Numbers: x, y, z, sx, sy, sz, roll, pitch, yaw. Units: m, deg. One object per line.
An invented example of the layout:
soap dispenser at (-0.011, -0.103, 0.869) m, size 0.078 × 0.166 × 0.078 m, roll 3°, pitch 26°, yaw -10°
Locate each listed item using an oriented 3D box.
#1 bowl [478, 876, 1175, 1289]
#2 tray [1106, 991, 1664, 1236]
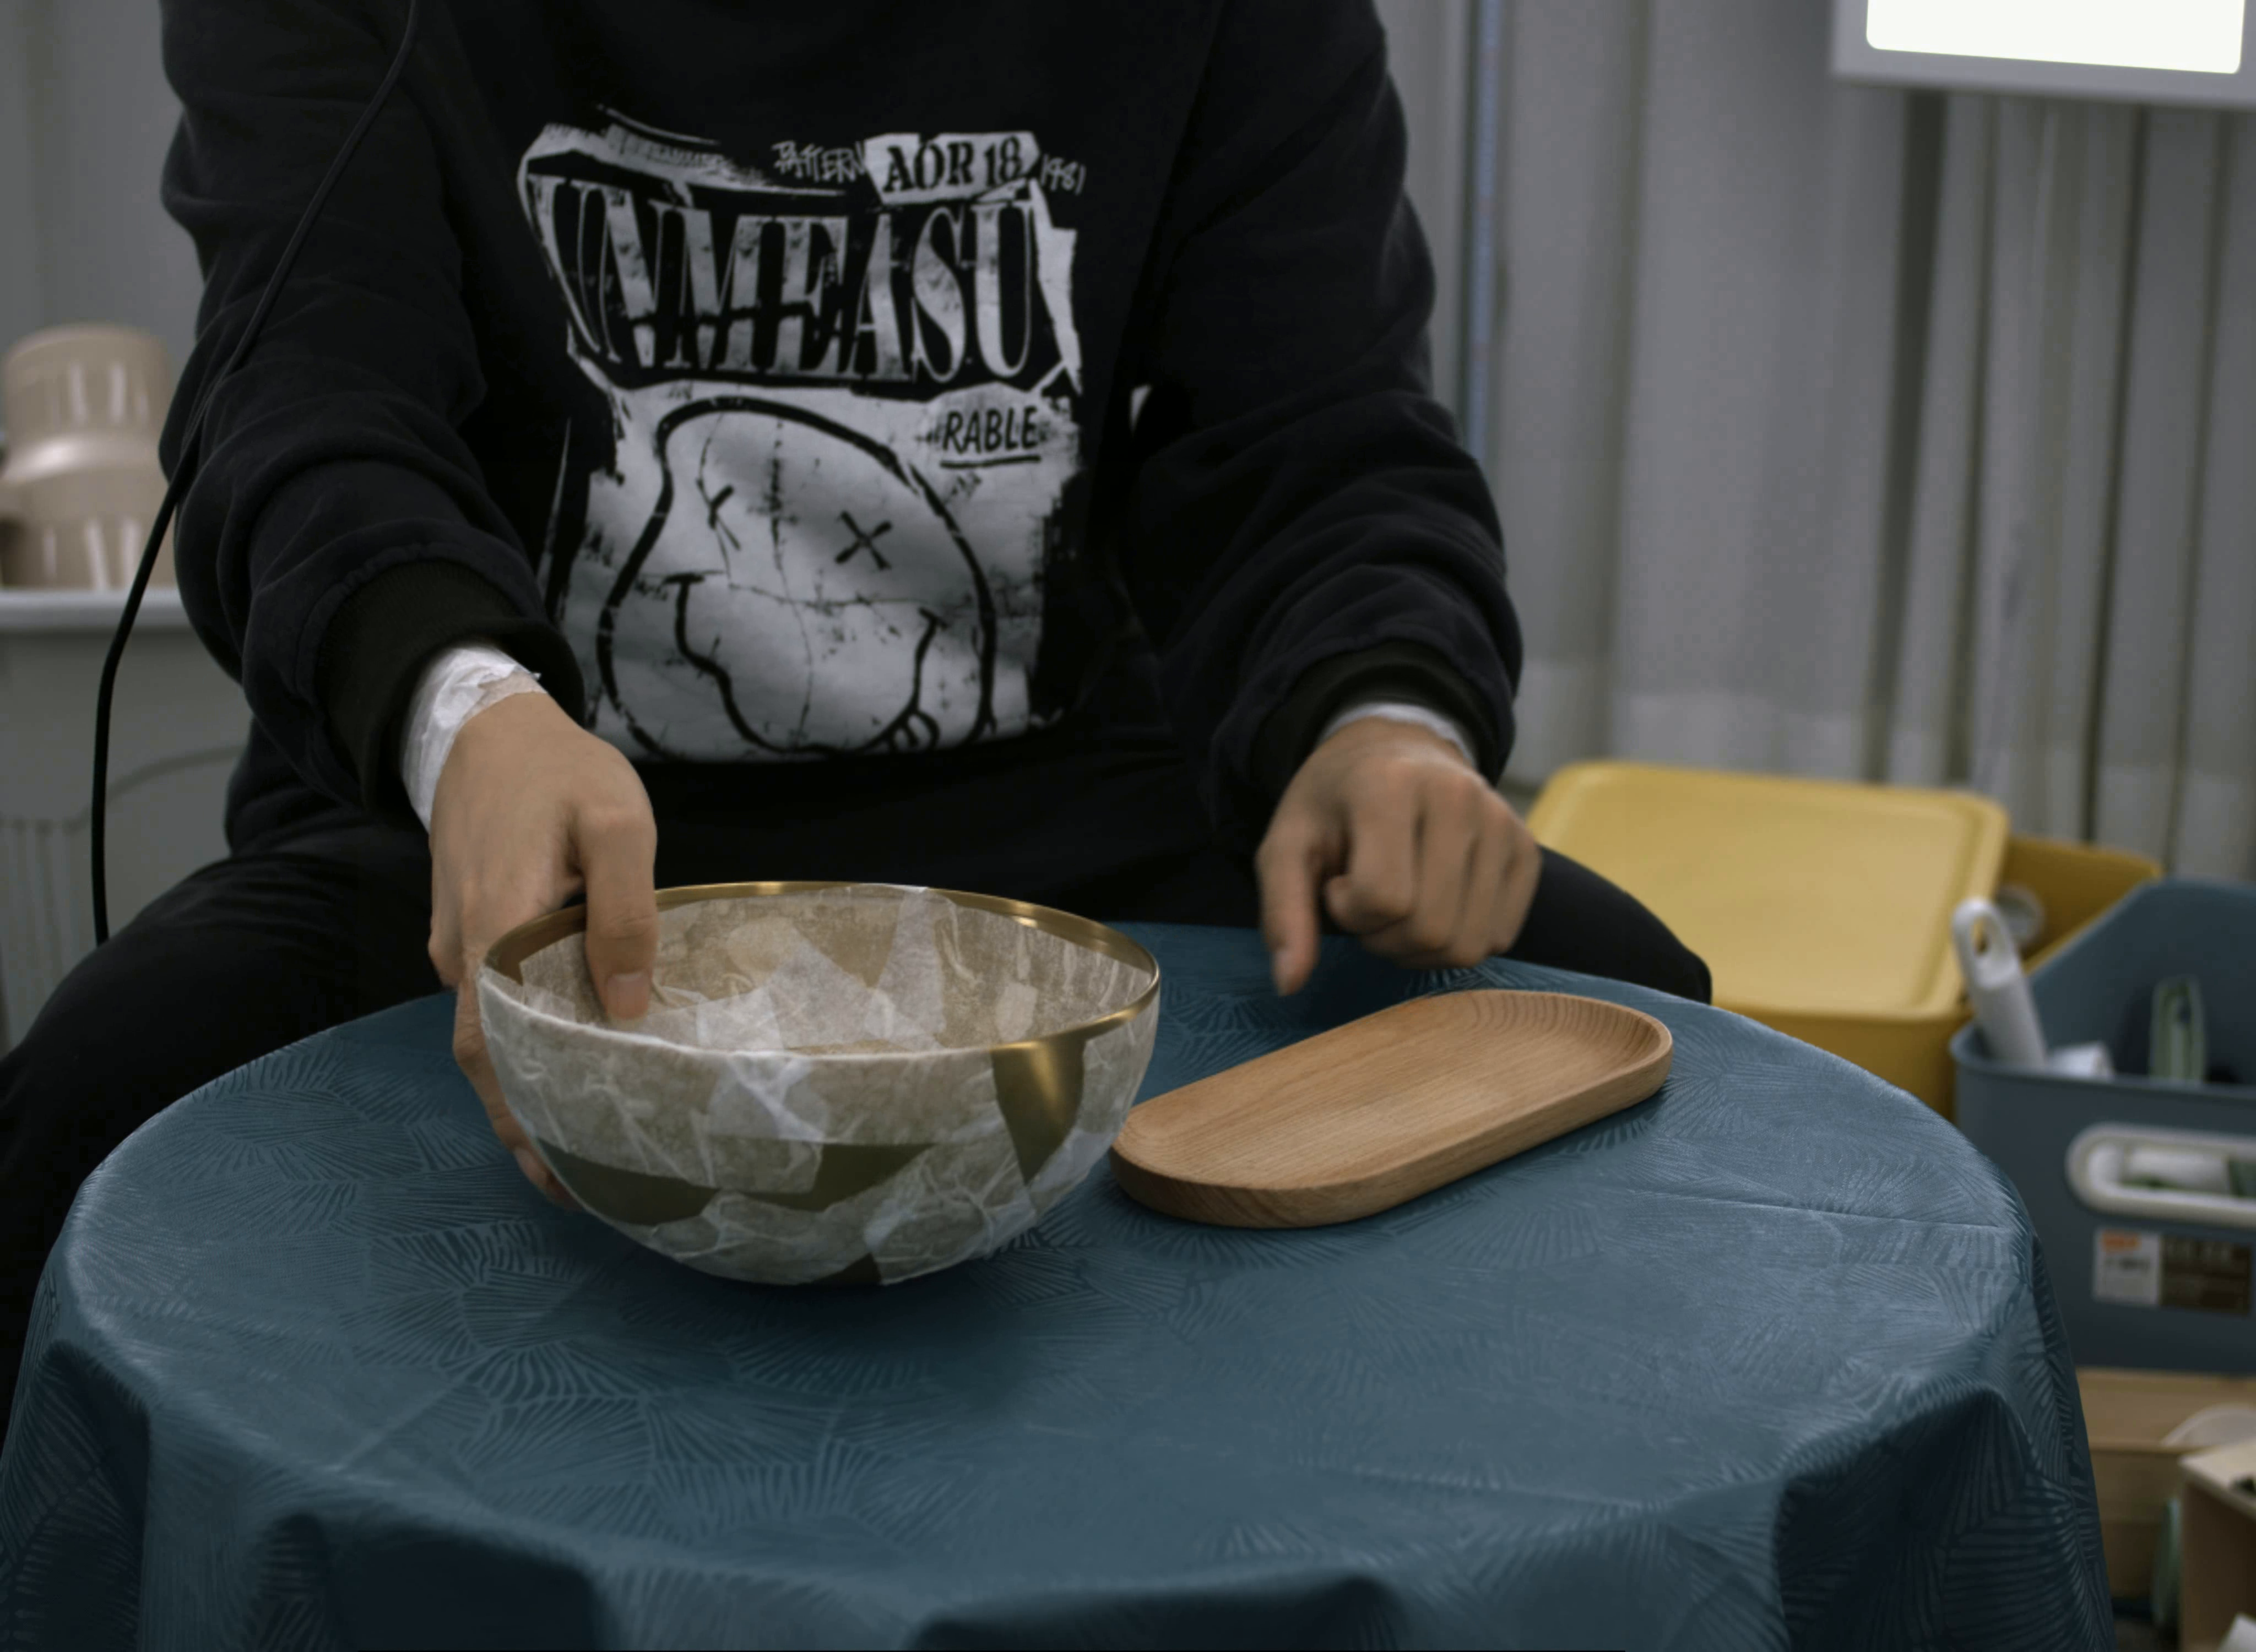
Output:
bowl at (-0.087, 0.082, 1.557) m, size 0.214 × 0.095 × 0.213 m, roll 1°, pitch 14°, yaw 0°
tray at (0.085, 0.090, 1.681) m, size 0.100 × 0.020 × 0.232 m, roll 10°, pitch 20°, yaw 37°
